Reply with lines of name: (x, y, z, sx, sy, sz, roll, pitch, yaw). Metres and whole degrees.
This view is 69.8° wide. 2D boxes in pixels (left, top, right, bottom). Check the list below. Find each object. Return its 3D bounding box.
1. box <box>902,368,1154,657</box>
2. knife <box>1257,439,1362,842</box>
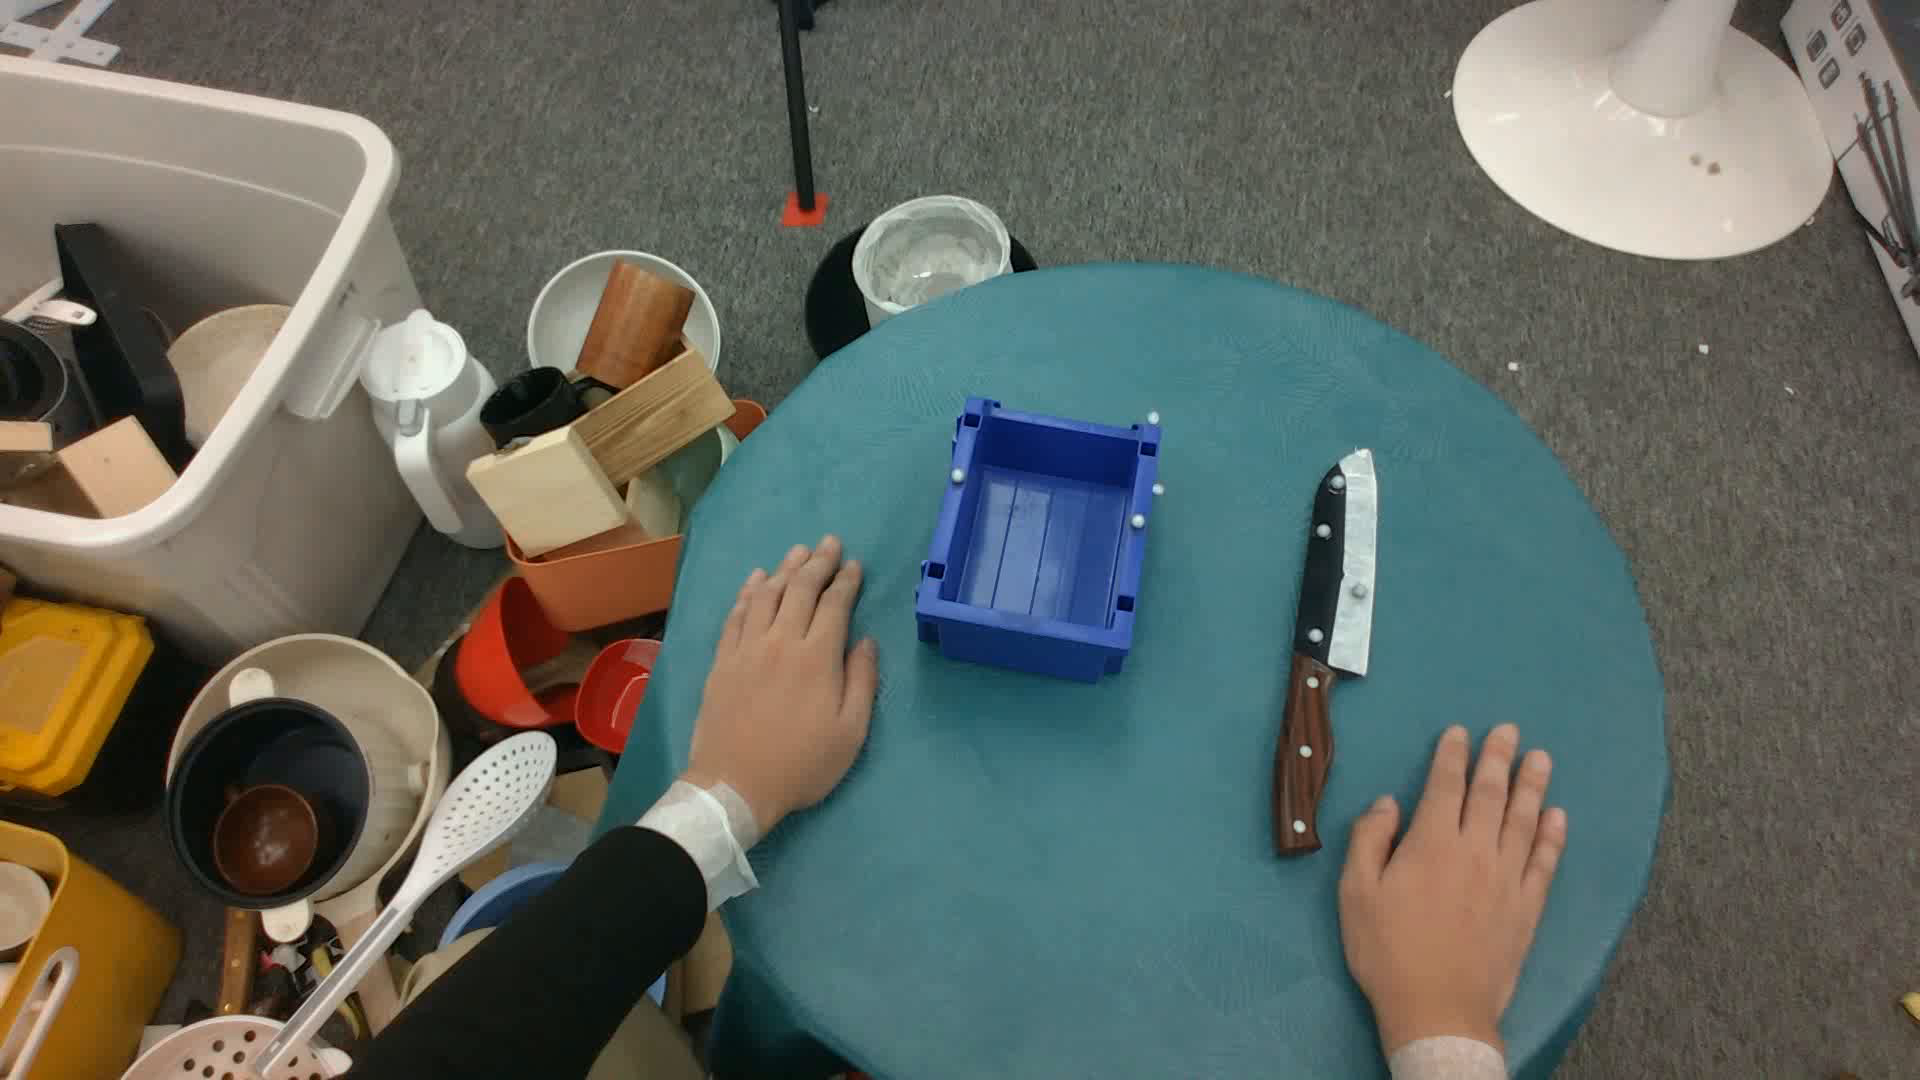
box: (0.043, -0.024, 0.833, 0.124, 0.081, 0.180, 11, 63, 6)
knife: (0.214, 0.050, 0.833, 0.050, 0.020, 0.290, 17, 59, 3)
